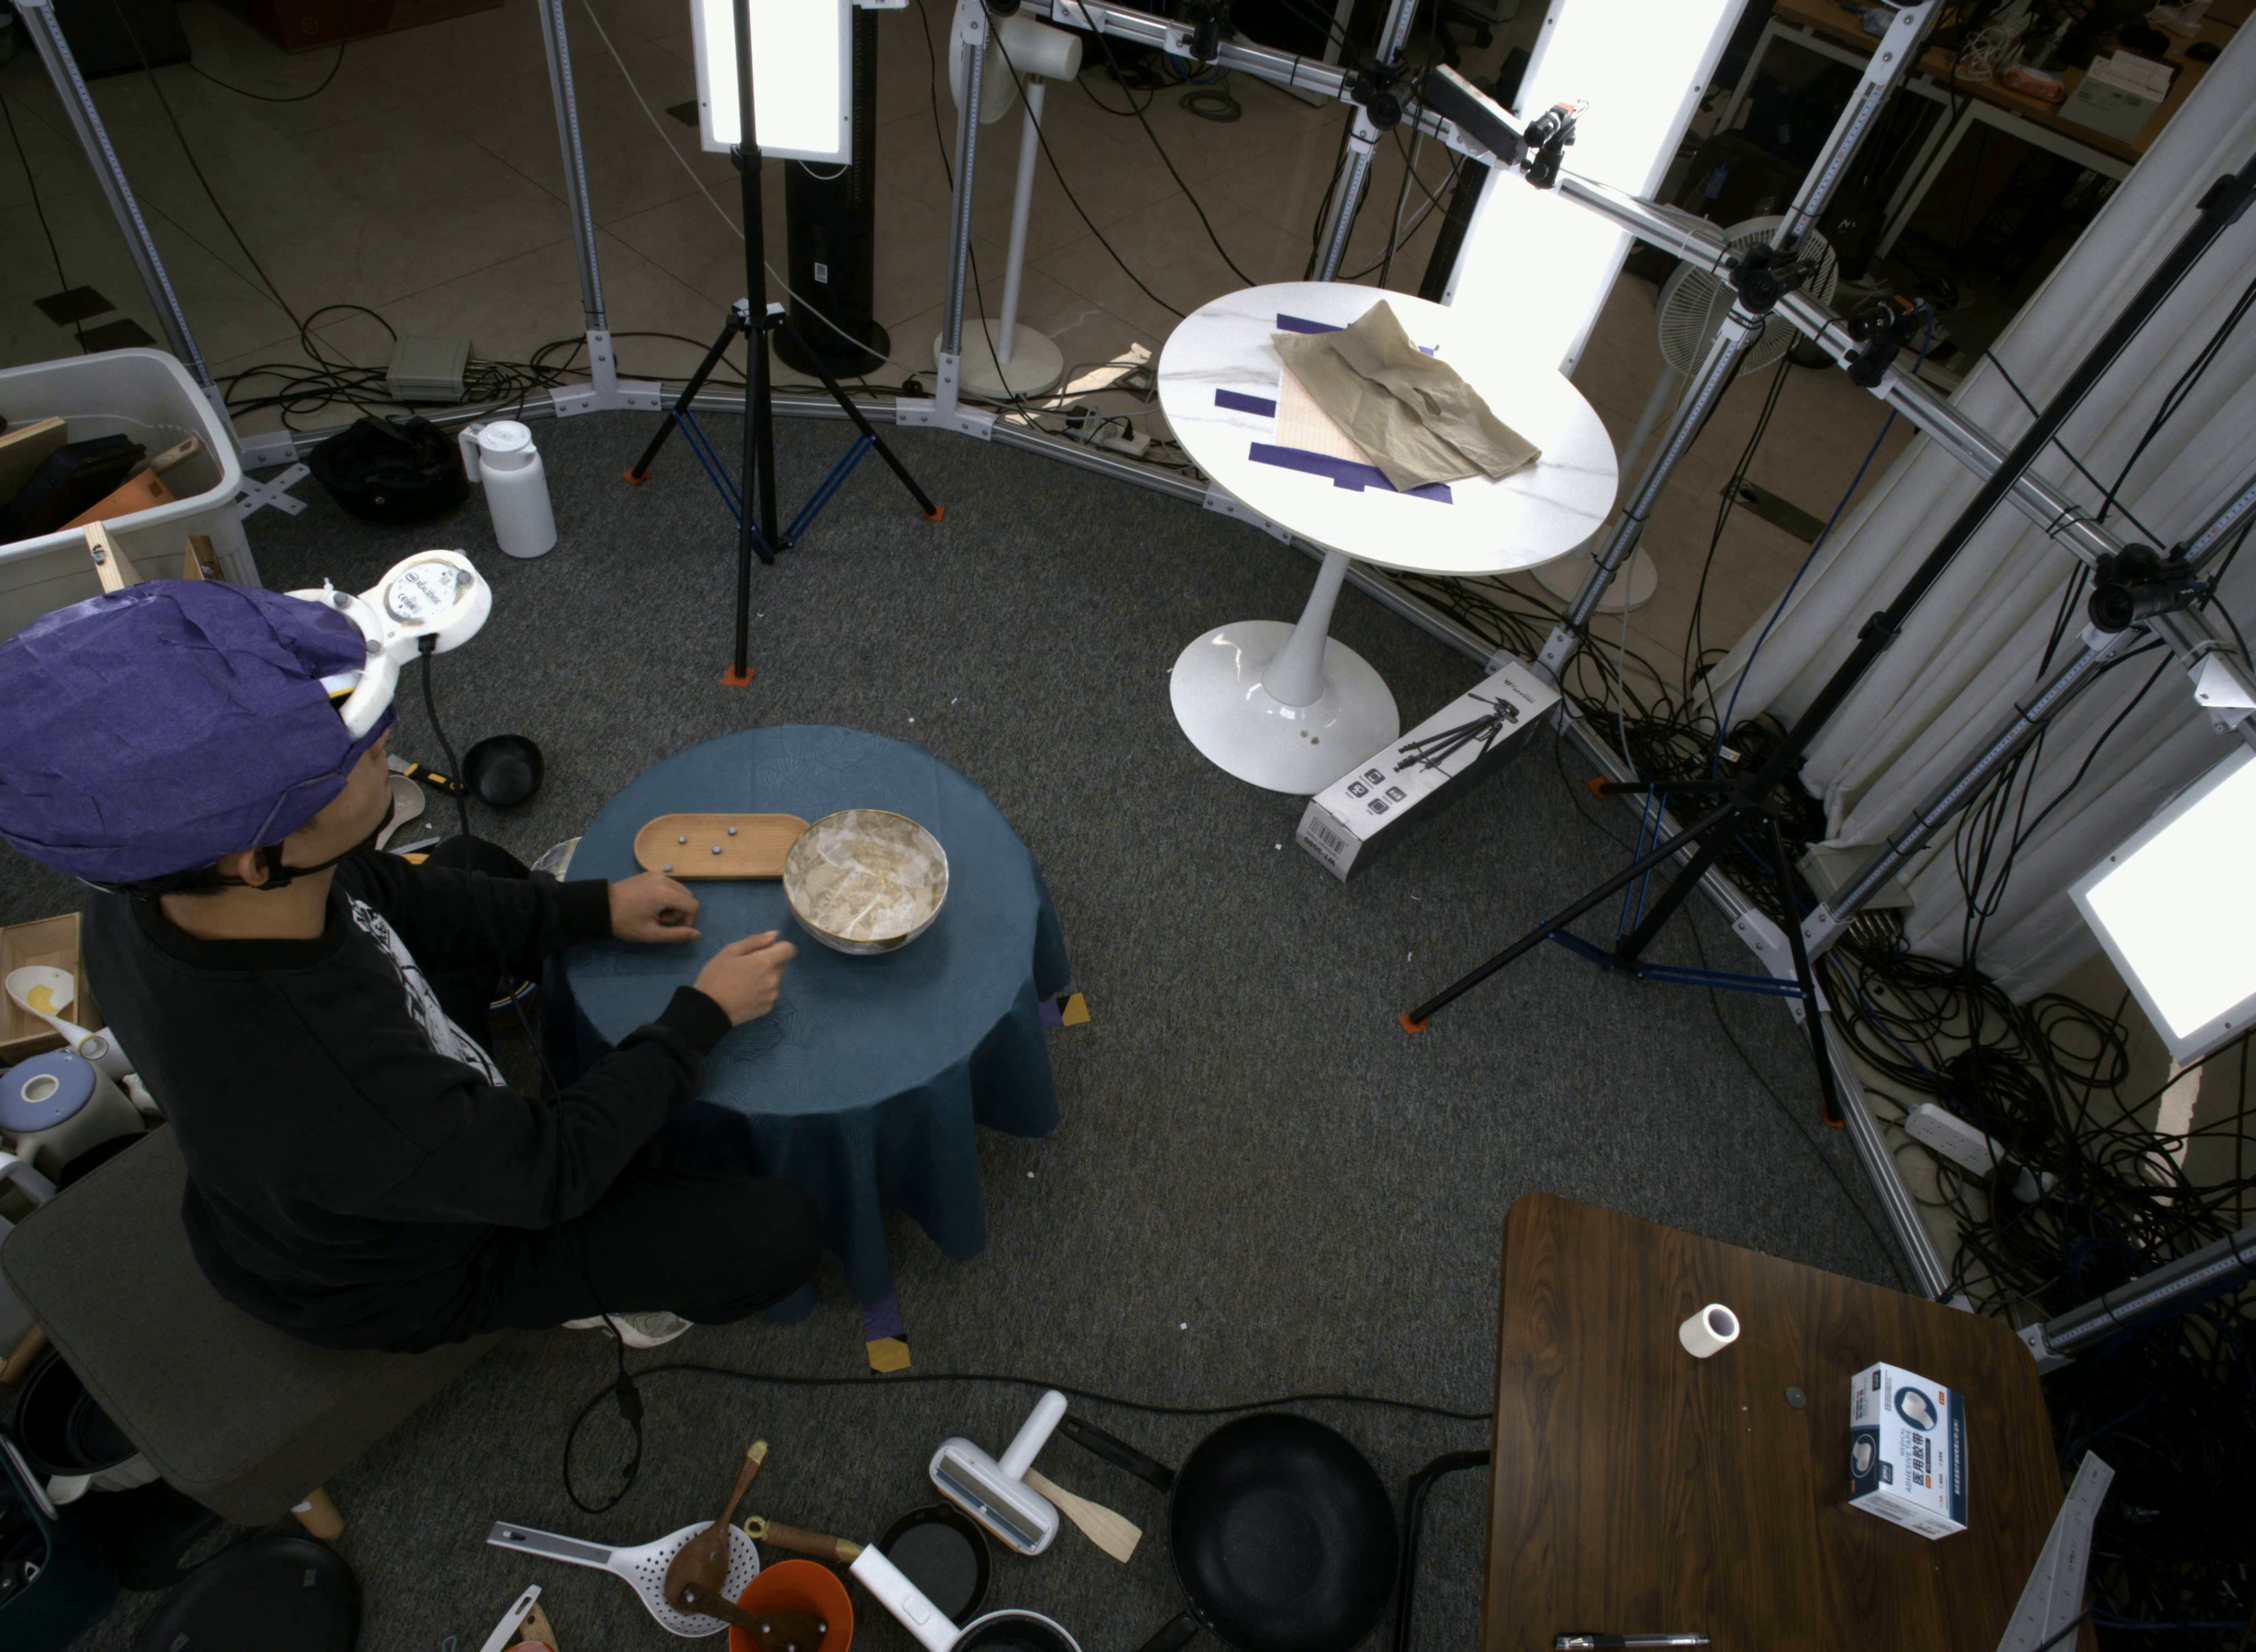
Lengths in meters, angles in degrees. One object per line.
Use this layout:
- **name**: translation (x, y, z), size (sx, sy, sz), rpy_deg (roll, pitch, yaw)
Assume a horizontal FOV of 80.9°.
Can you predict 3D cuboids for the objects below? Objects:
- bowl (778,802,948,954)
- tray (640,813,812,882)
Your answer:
- **bowl**: translation (-0.332, 0.079, 1.634), size (0.214, 0.096, 0.211), rpy_deg (7, 53, -8)
- **tray**: translation (-0.515, 0.026, 1.676), size (0.232, 0.020, 0.099), rpy_deg (0, 56, -17)
